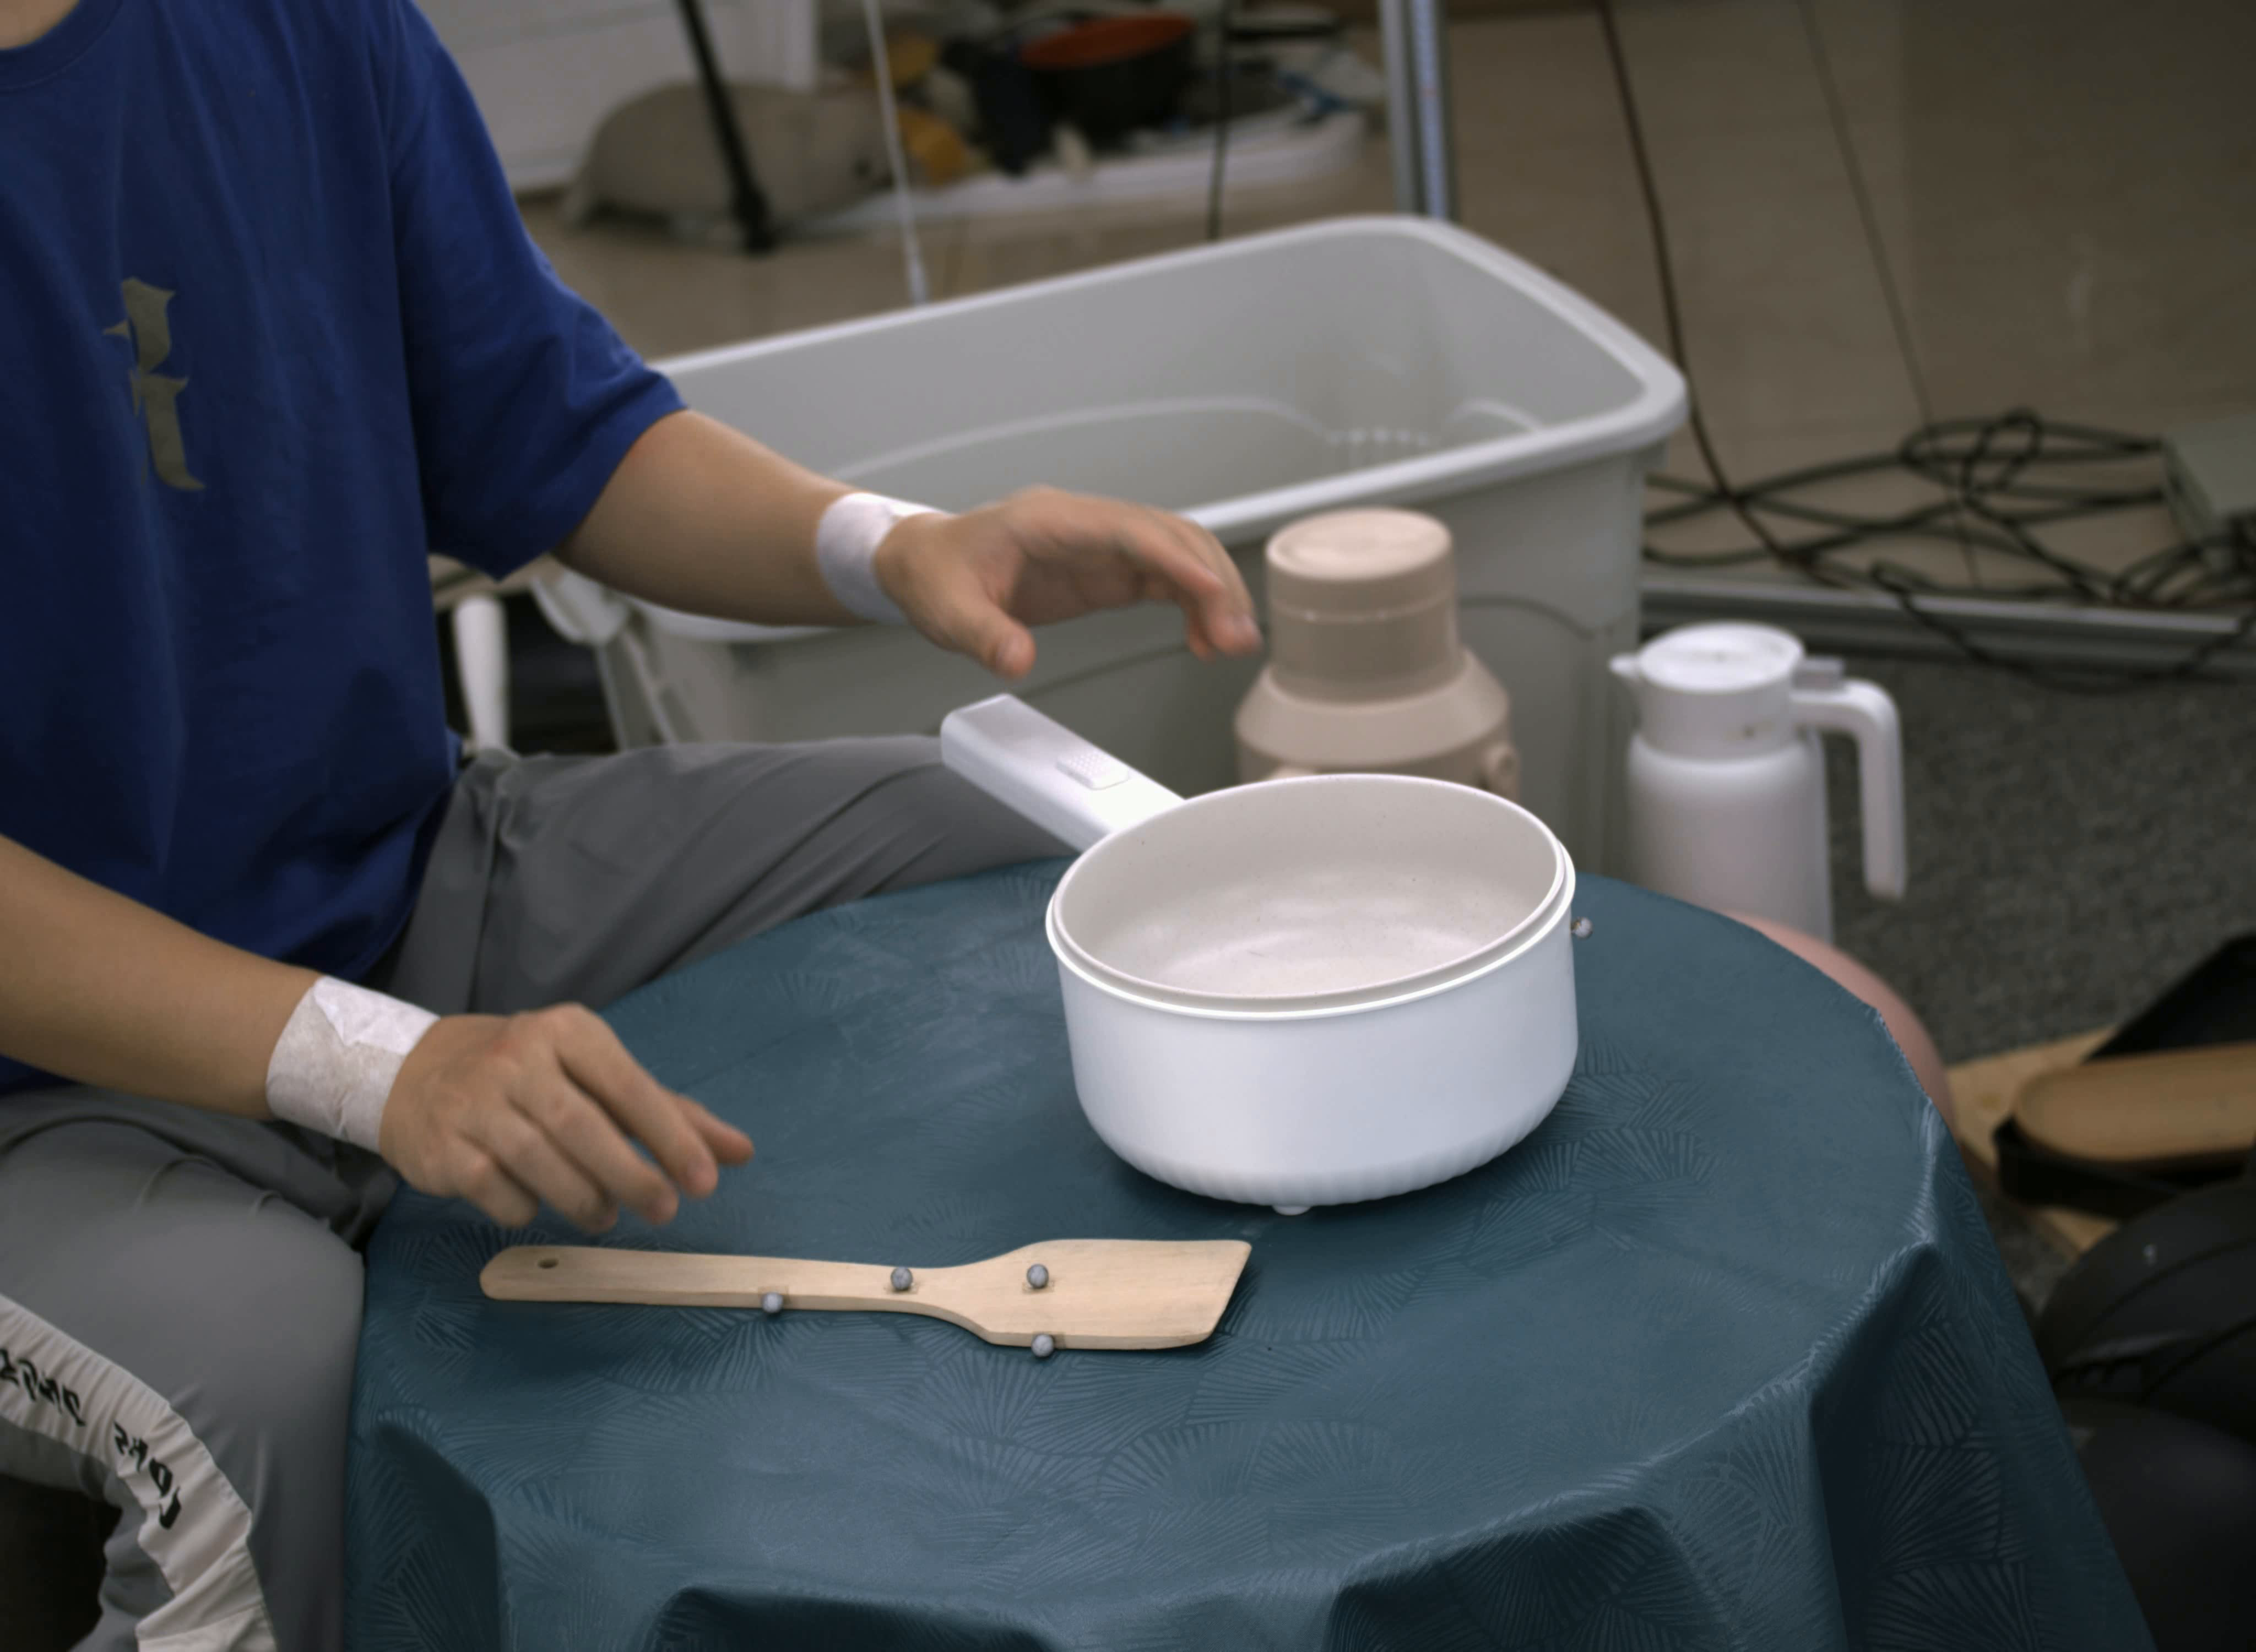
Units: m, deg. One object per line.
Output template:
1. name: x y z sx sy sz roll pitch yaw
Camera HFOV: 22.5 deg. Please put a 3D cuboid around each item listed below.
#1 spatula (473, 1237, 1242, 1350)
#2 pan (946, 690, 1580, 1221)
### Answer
1. spatula: -0.105 0.169 2.098 0.292 0.011 0.071 1 27 15
2. pan: 0.034 0.044 2.226 0.200 0.104 0.351 -22 29 -25
